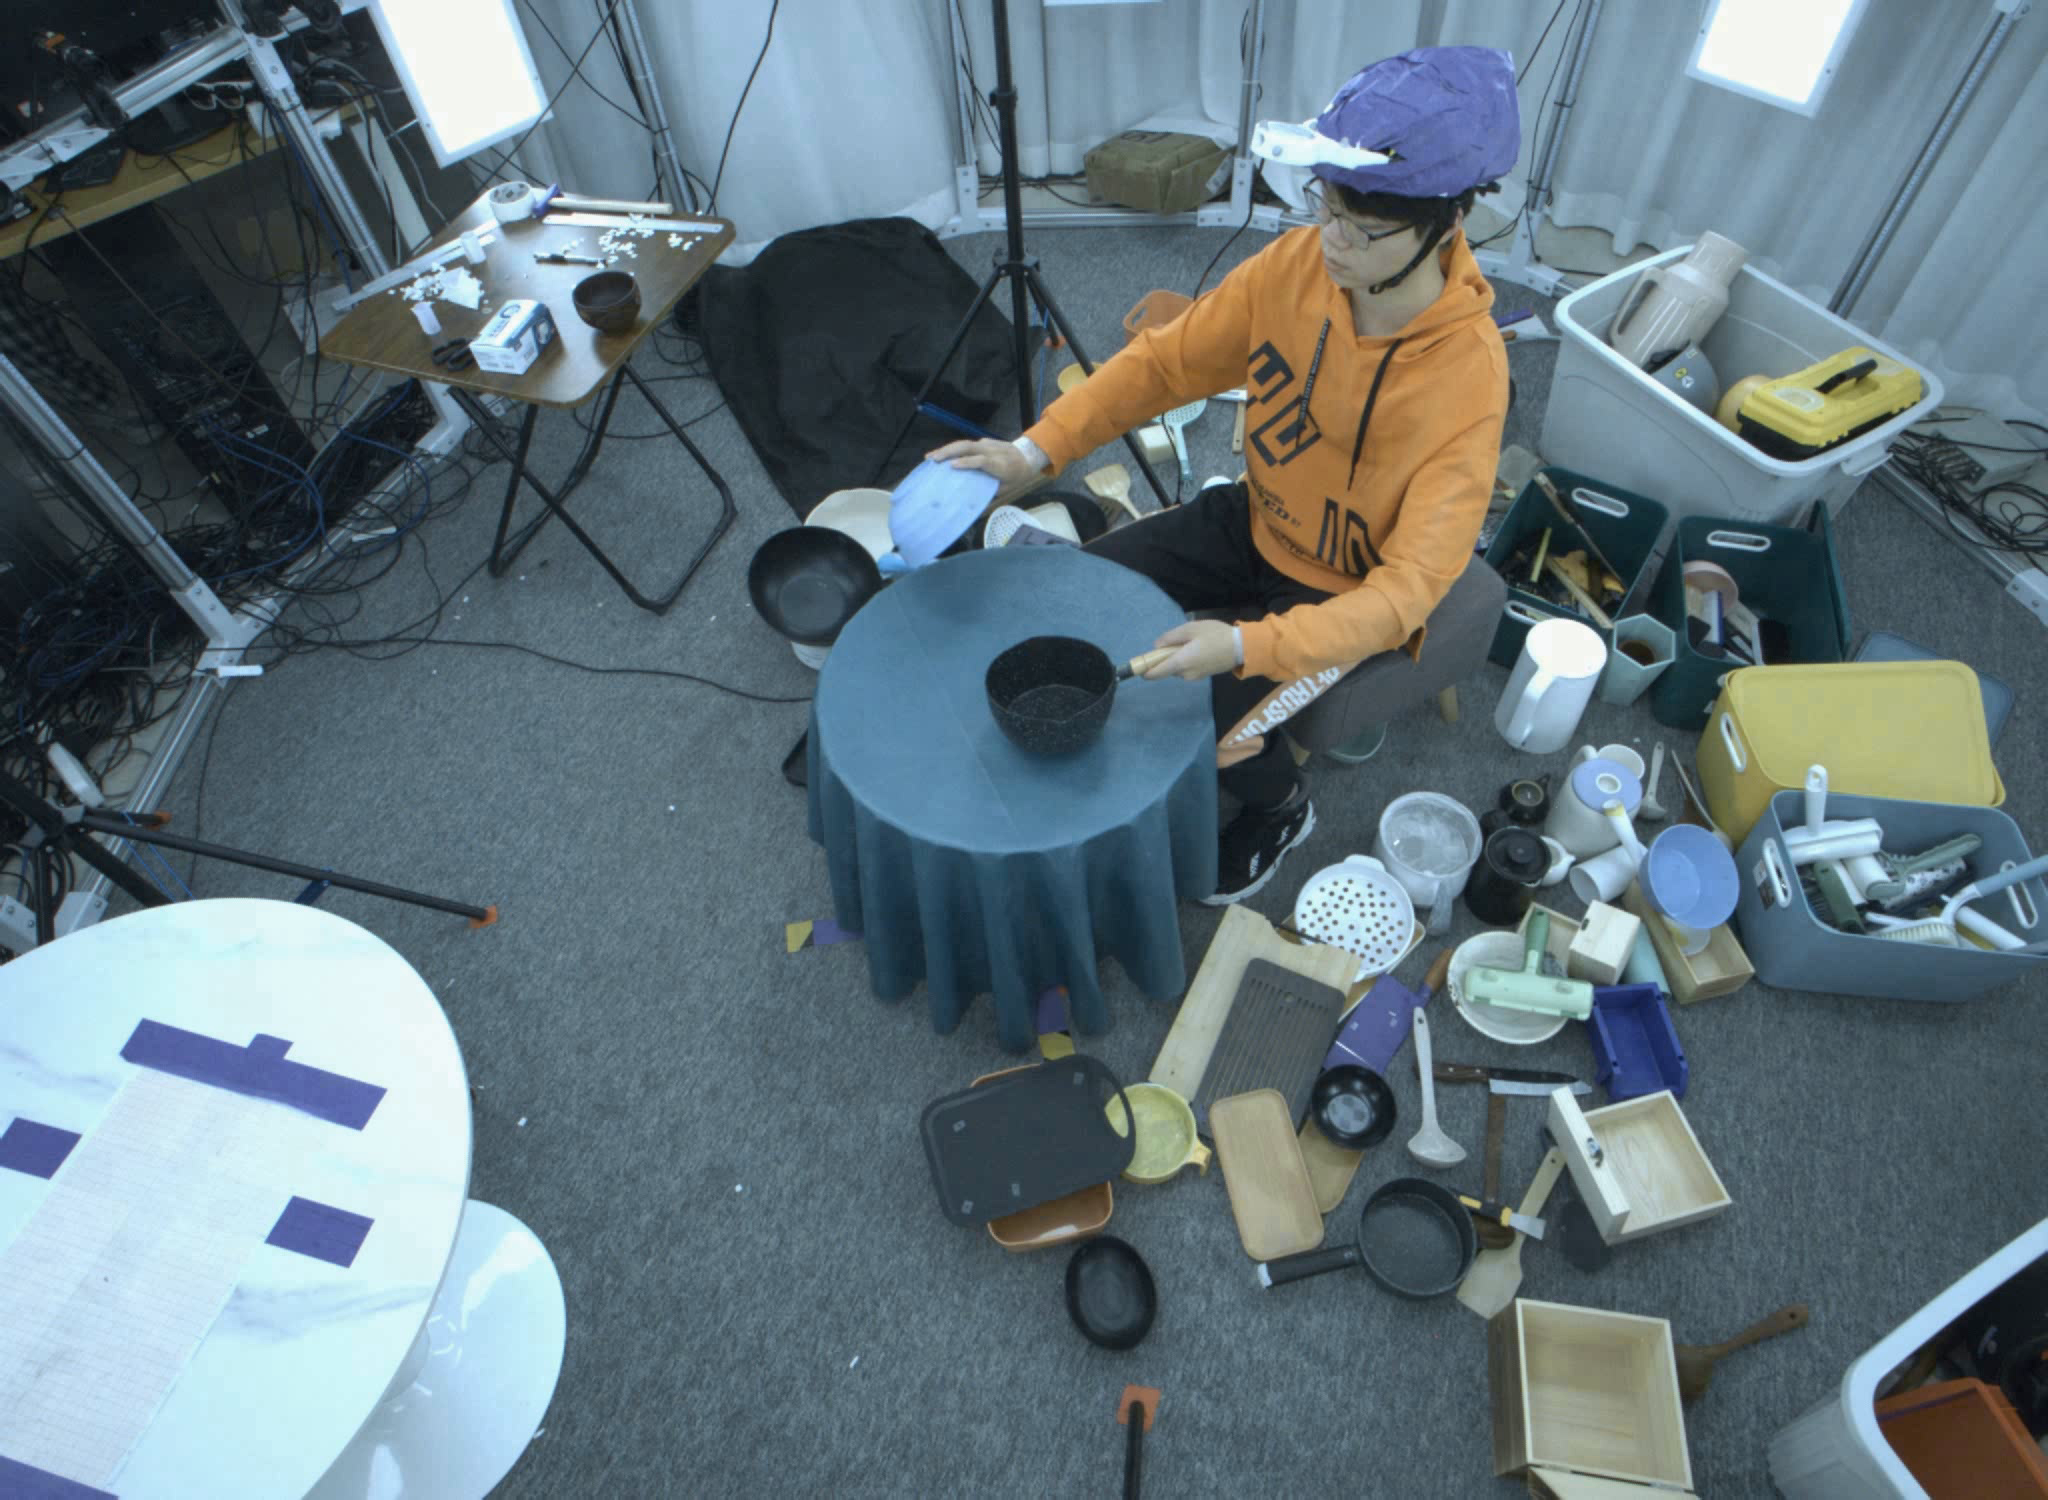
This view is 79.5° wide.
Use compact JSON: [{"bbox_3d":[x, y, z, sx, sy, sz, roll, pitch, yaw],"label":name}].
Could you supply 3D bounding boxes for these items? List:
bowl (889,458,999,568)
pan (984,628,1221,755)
[{"bbox_3d":[-0.141,-0.382,1.871,0.097,0.193,0.197,44,58,-21],"label":"bowl"},{"bbox_3d":[0.115,-0.099,1.759,0.344,0.109,0.204,-13,43,-6],"label":"pan"}]
